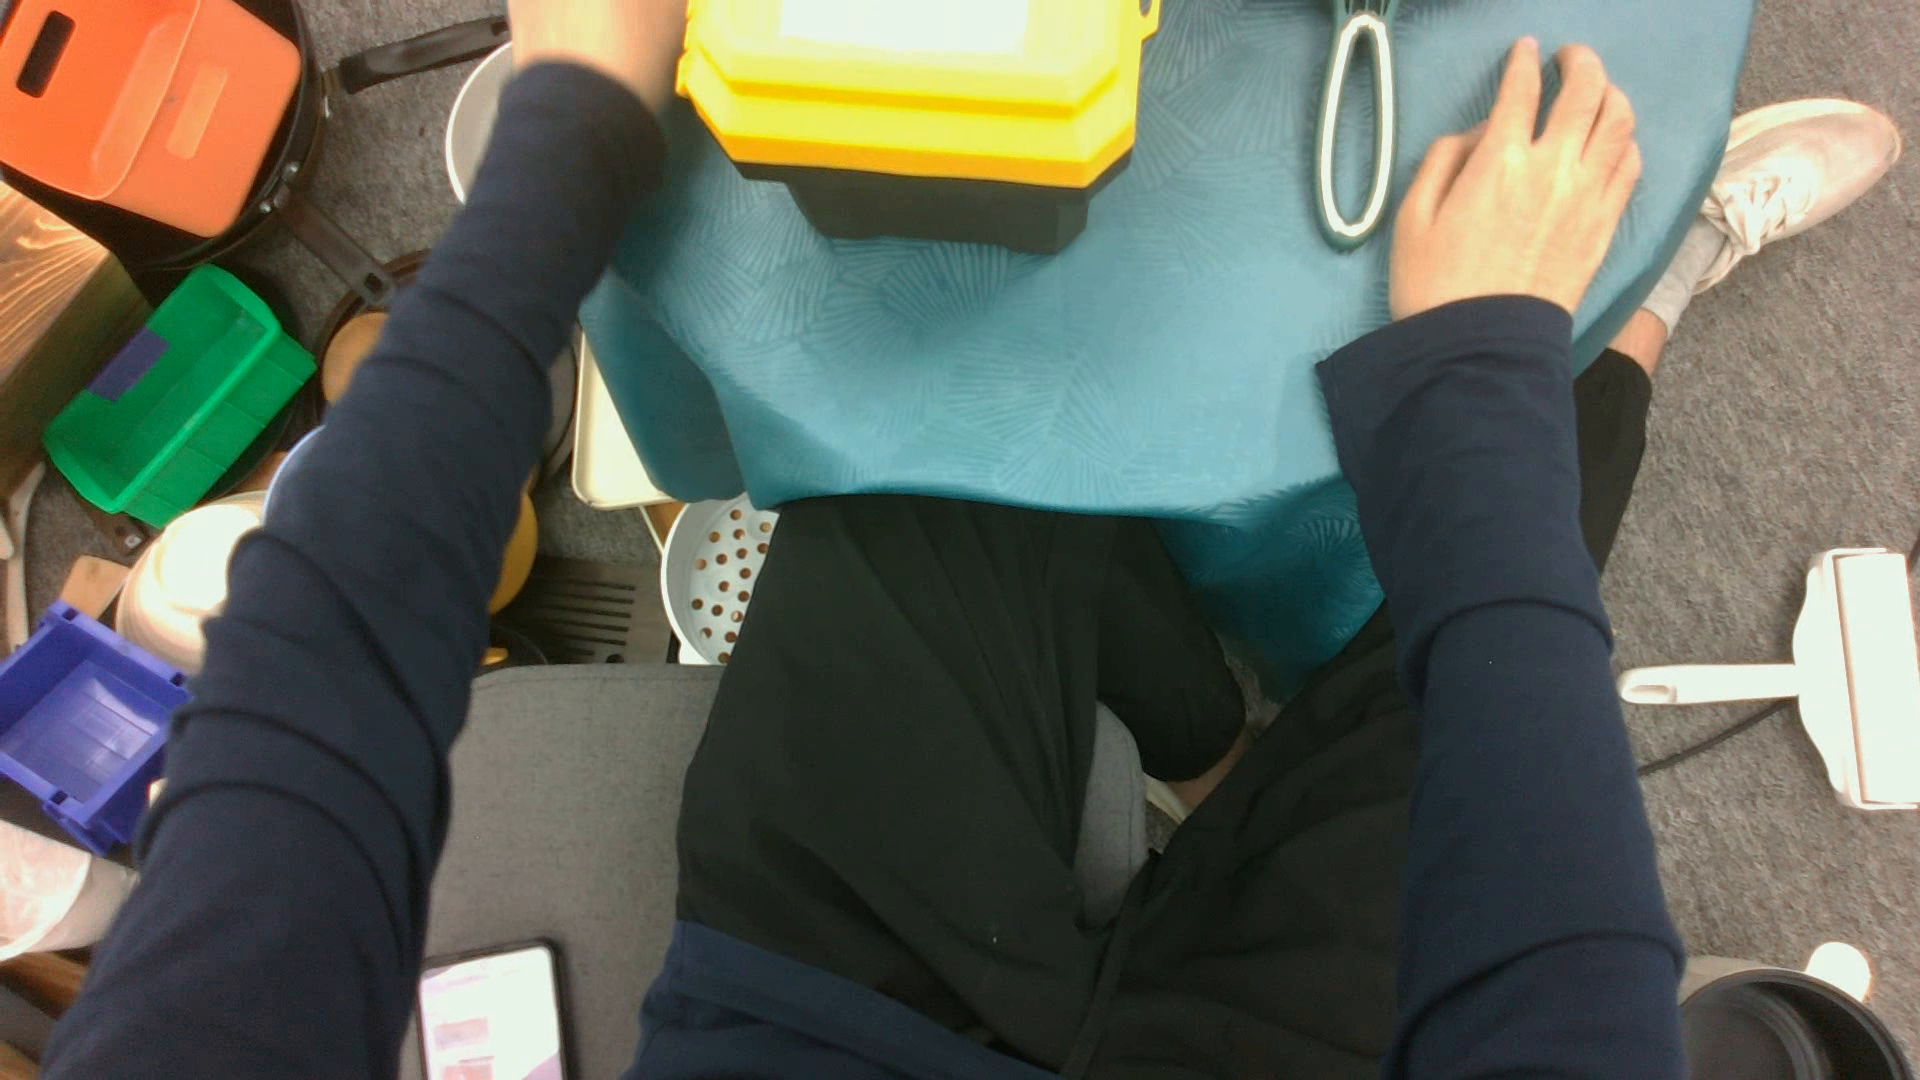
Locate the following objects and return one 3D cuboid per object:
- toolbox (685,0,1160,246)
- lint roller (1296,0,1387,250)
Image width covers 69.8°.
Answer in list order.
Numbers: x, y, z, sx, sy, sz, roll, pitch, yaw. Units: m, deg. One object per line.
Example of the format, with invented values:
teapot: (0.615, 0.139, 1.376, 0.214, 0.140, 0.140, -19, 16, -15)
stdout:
toolbox: (-0.002, -0.306, 0.579, 0.181, 0.172, 0.352, 5, 82, 4)
lint roller: (0.177, -0.226, 0.626, 0.134, 0.048, 0.180, 4, 86, 2)
